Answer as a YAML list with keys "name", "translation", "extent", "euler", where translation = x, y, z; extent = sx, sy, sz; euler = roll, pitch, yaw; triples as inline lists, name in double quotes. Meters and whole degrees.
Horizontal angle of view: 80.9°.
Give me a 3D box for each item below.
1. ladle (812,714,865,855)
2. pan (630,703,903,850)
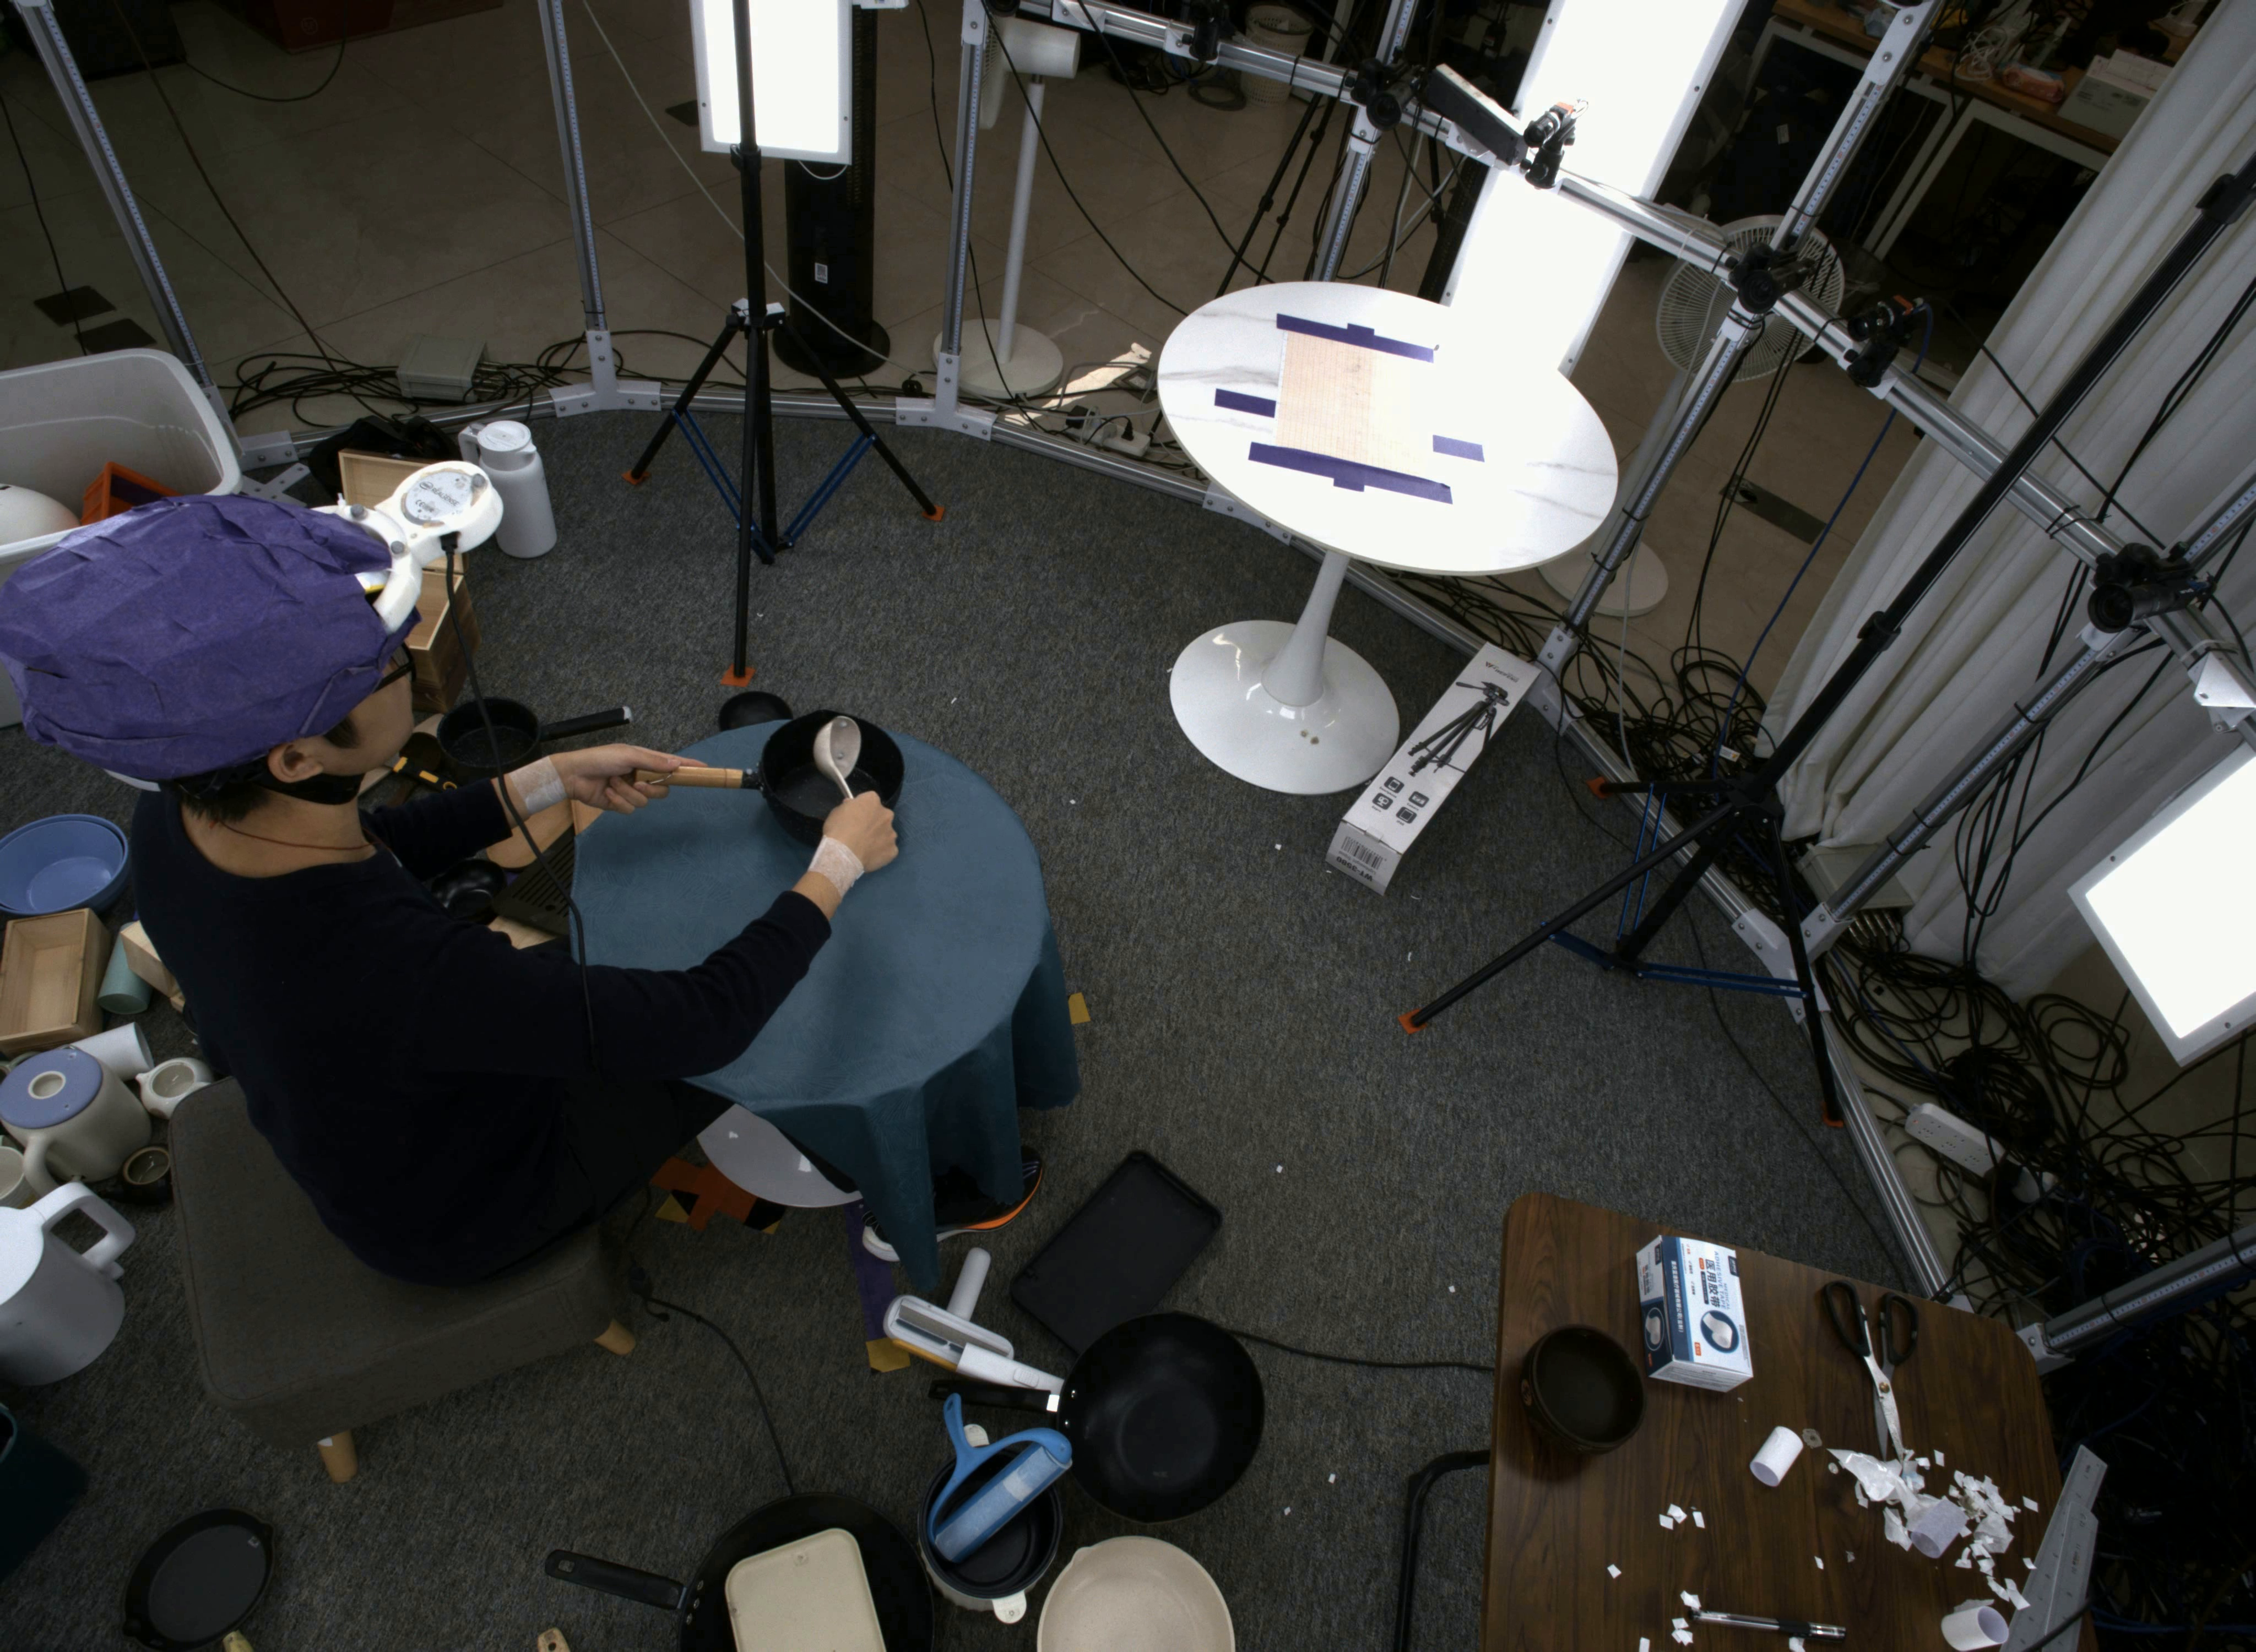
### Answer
- name: "ladle"
  translation: [-0.330, -0.046, 1.593]
  extent: [0.070, 0.092, 0.265]
  euler: [-8, 35, -25]
- name: "pan"
  translation: [-0.463, -0.054, 1.665]
  extent: [0.345, 0.110, 0.202]
  euler: [-6, 56, -24]
